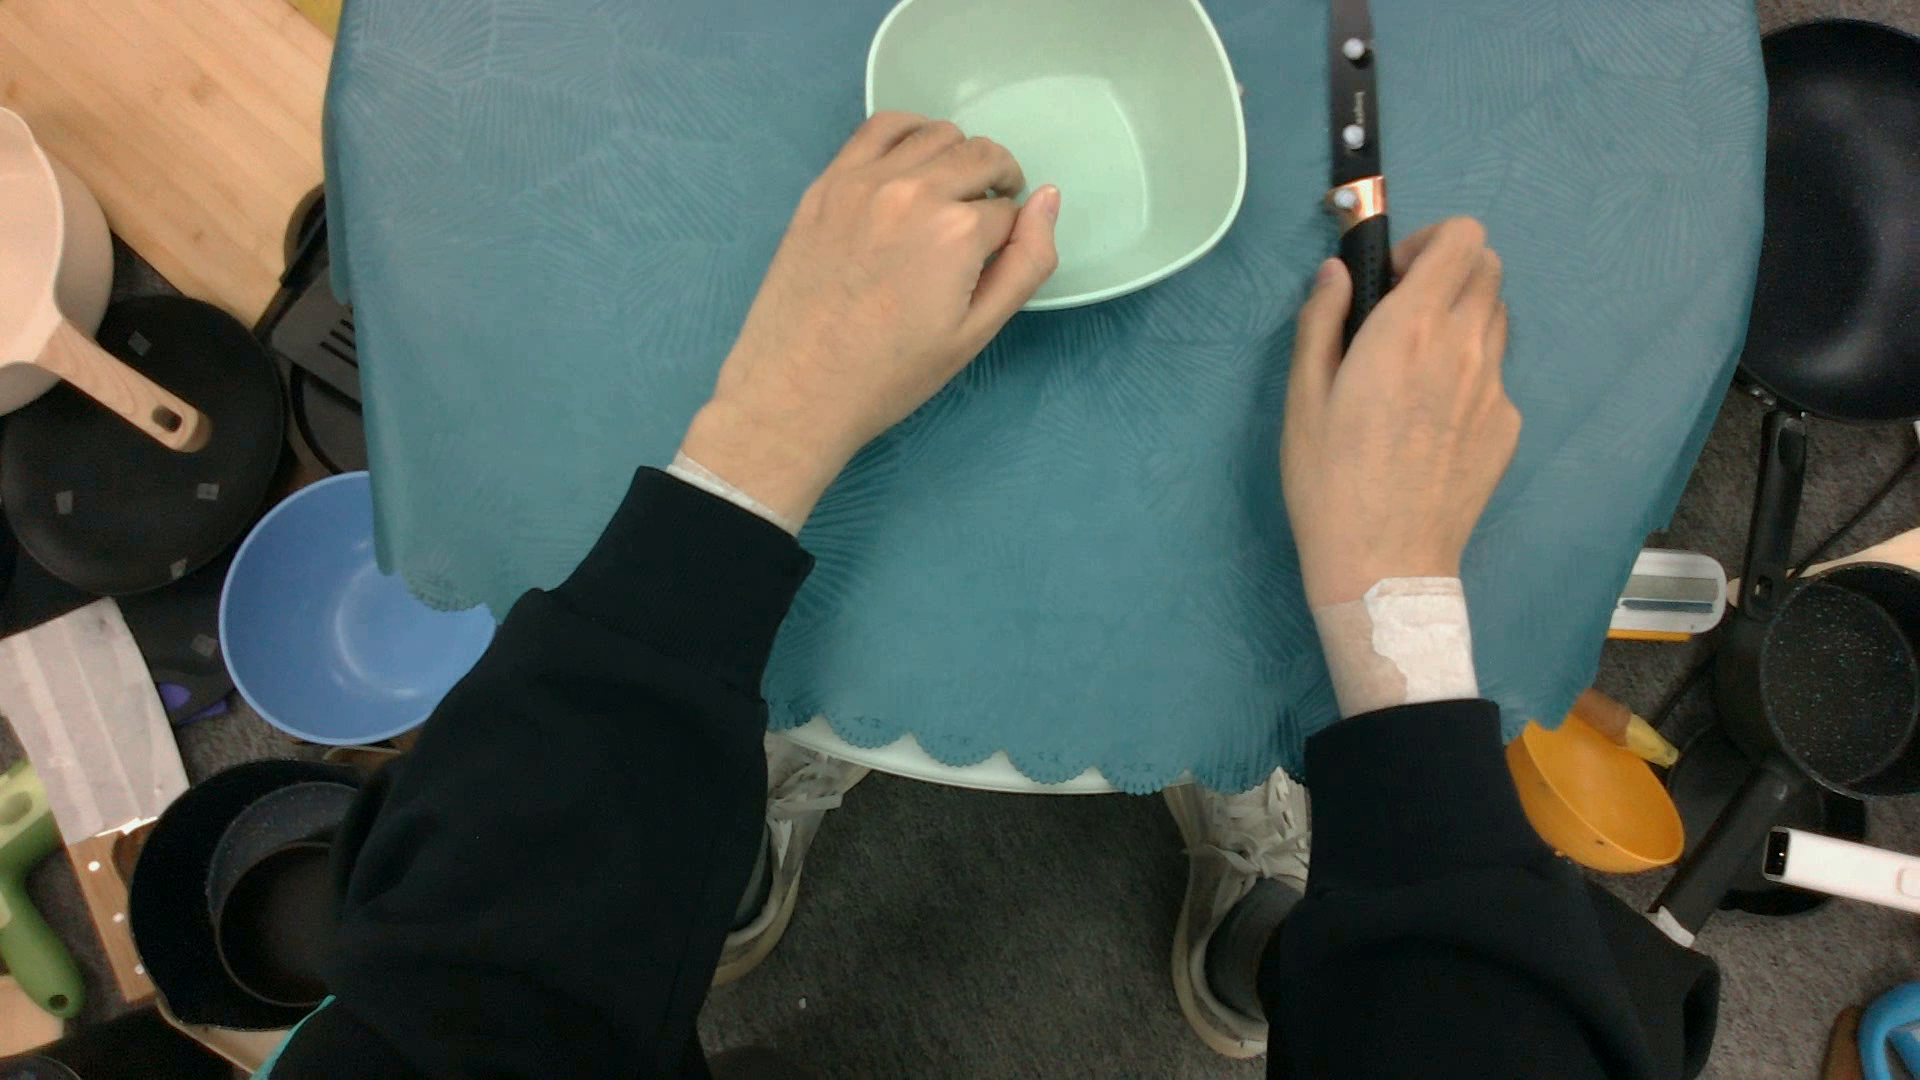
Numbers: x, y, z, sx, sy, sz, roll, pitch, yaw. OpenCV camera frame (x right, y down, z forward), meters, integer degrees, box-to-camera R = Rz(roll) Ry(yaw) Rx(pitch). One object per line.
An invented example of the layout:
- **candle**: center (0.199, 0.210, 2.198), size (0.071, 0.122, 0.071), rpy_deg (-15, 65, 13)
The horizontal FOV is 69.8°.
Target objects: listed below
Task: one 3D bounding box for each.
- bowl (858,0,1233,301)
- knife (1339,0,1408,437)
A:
- **bowl**: center (0.031, -0.155, 0.544), size (0.151, 0.058, 0.151), rpy_deg (0, 81, -3)
- **knife**: center (0.164, -0.147, 0.559), size (0.017, 0.026, 0.226), rpy_deg (-3, 74, 7)
